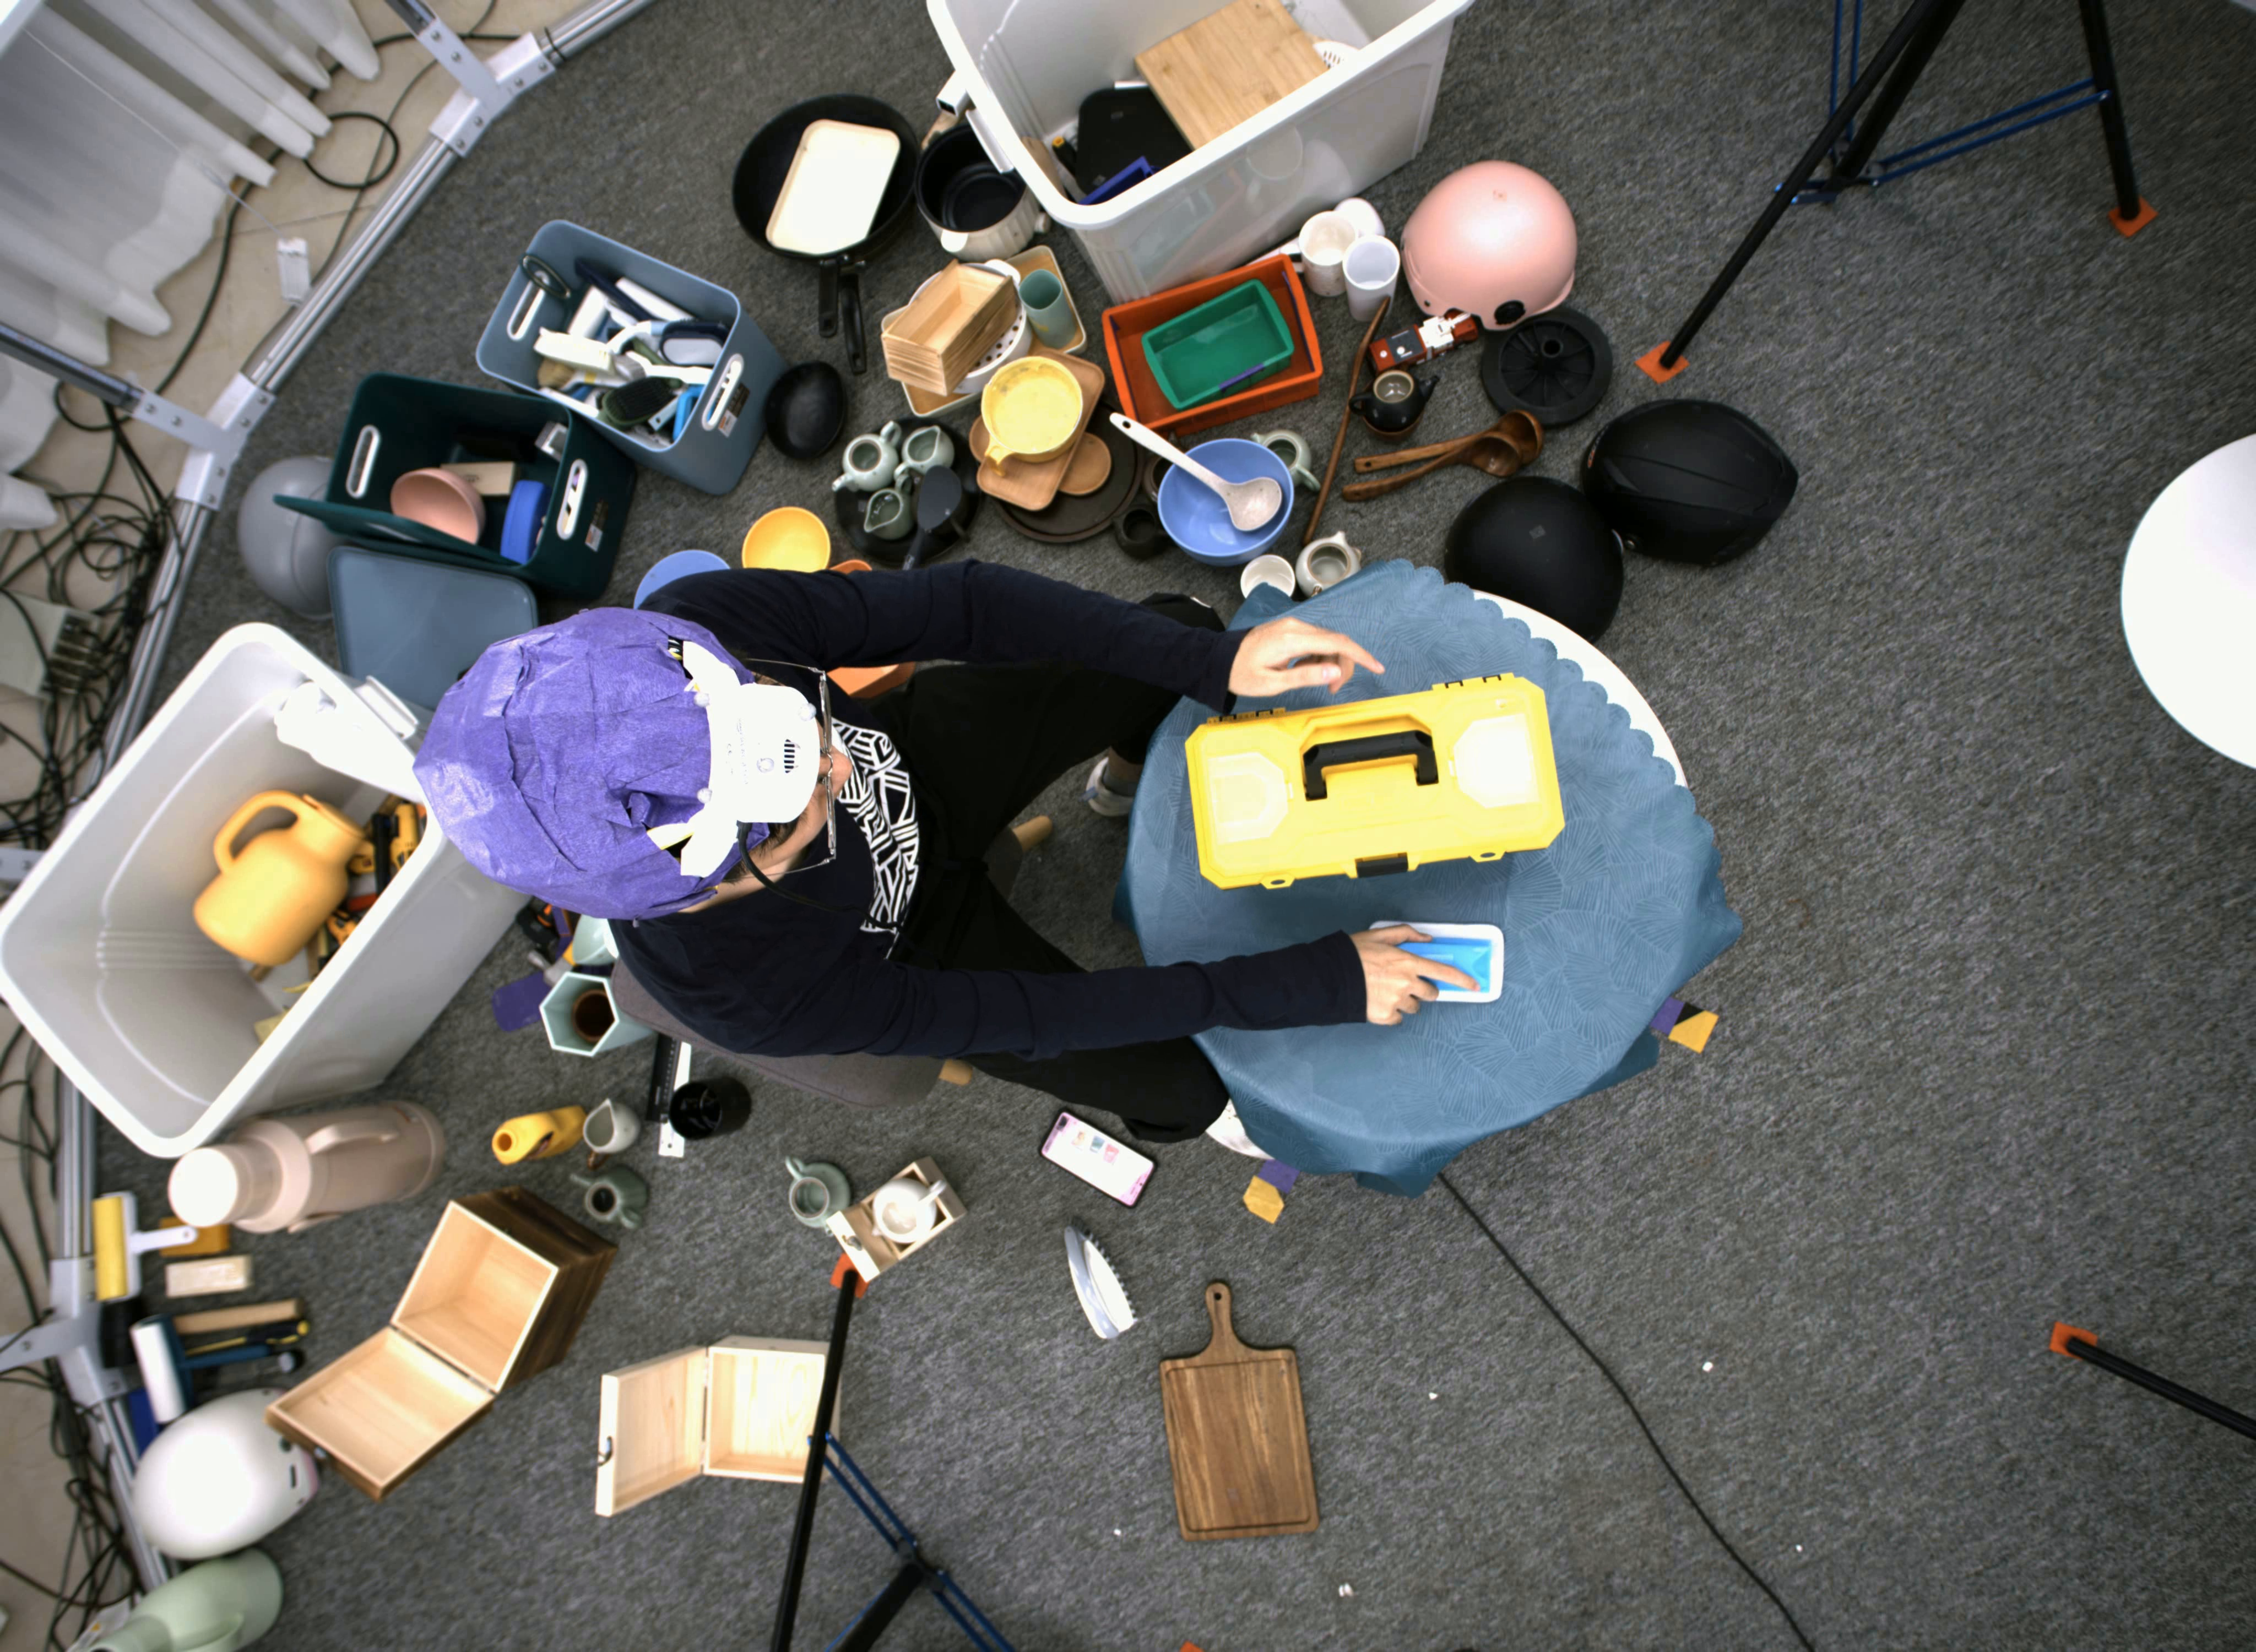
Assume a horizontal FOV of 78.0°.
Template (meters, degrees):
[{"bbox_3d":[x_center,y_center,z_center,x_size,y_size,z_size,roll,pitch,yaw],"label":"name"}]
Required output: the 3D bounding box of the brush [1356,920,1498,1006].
[{"bbox_3d":[0.308,0.139,1.417,0.144,0.056,0.083,4,85,8],"label":"brush"}]

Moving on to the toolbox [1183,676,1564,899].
[{"bbox_3d":[0.243,-0.034,1.381,0.353,0.173,0.180,-8,84,10],"label":"toolbox"}]
